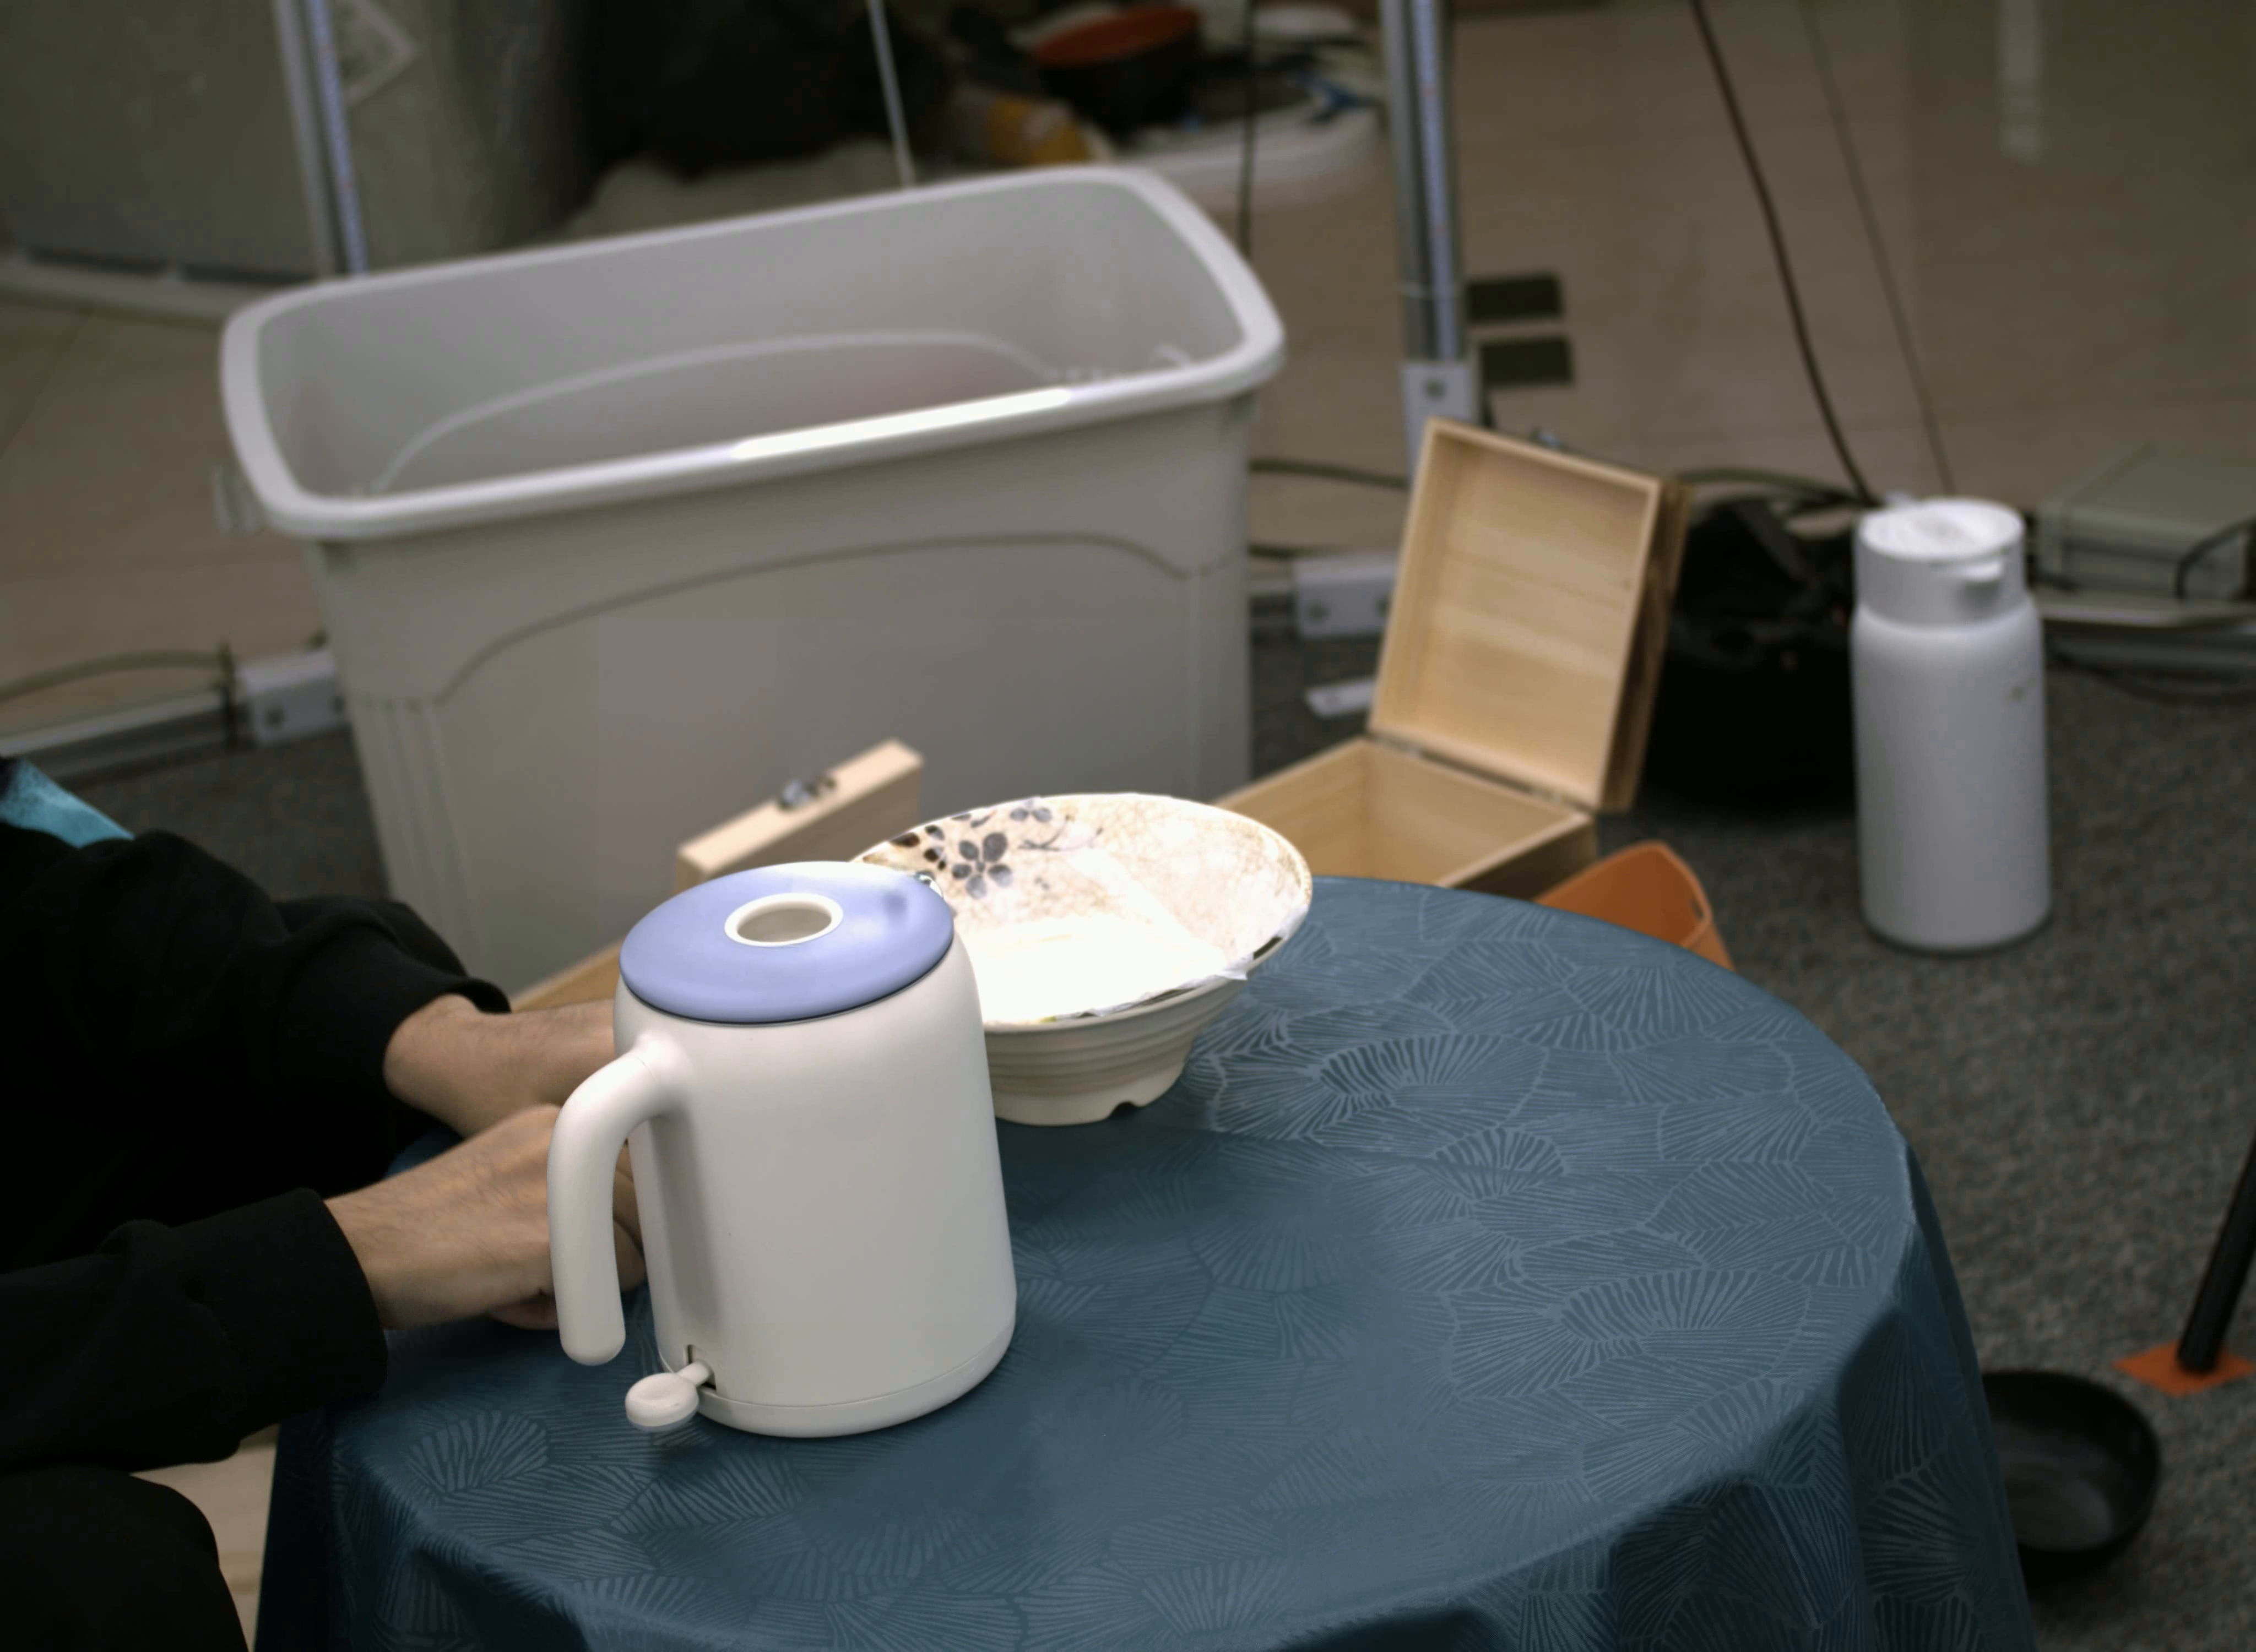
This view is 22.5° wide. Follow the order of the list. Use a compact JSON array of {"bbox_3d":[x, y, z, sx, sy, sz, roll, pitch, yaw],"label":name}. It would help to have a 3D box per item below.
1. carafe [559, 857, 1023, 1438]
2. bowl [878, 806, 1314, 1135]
[{"bbox_3d":[-0.127,0.123,2.004,0.131,0.185,0.189,17,36,41],"label":"carafe"},{"bbox_3d":[-0.022,0.067,2.218,0.204,0.079,0.201,-9,23,4],"label":"bowl"}]
